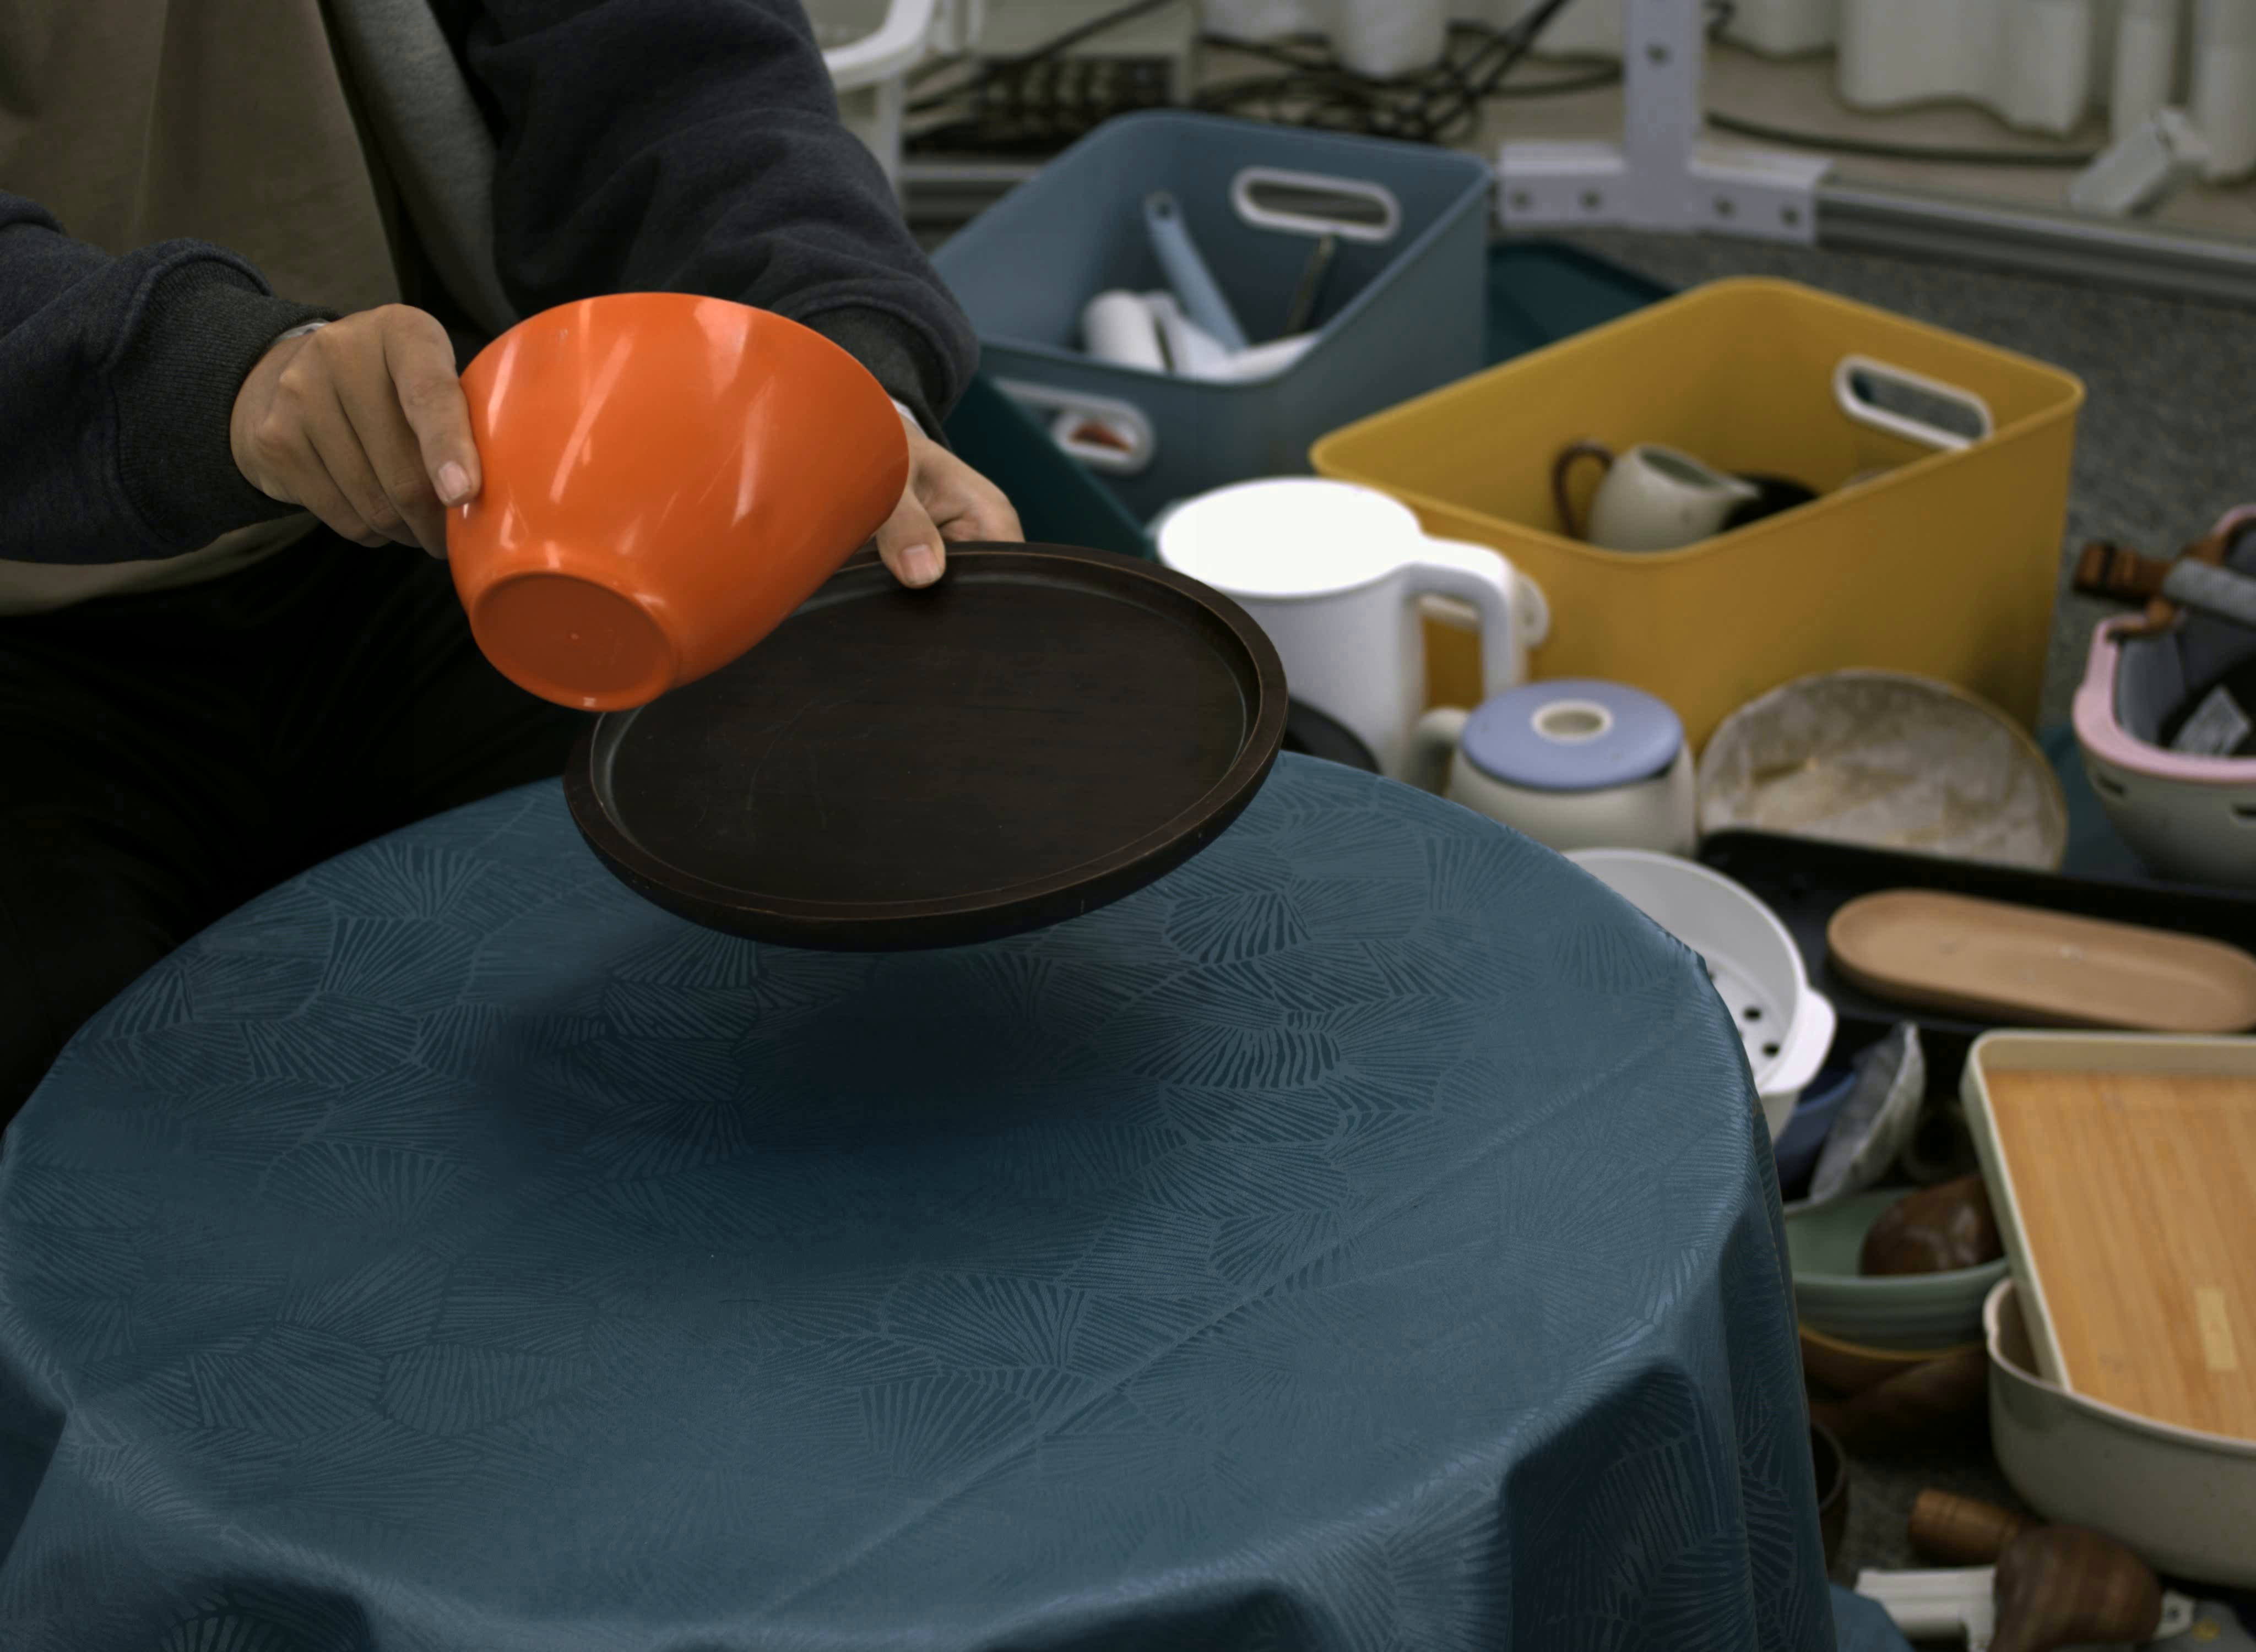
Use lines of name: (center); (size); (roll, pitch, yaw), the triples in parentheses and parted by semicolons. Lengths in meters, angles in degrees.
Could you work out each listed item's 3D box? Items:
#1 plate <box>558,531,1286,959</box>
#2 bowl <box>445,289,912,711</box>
plate: (-0.070, -0.028, 1.940); (0.253, 0.028, 0.259); (-5, 32, 4)
bowl: (-0.152, -0.093, 1.792); (0.147, 0.146, 0.107); (5, 51, 14)
